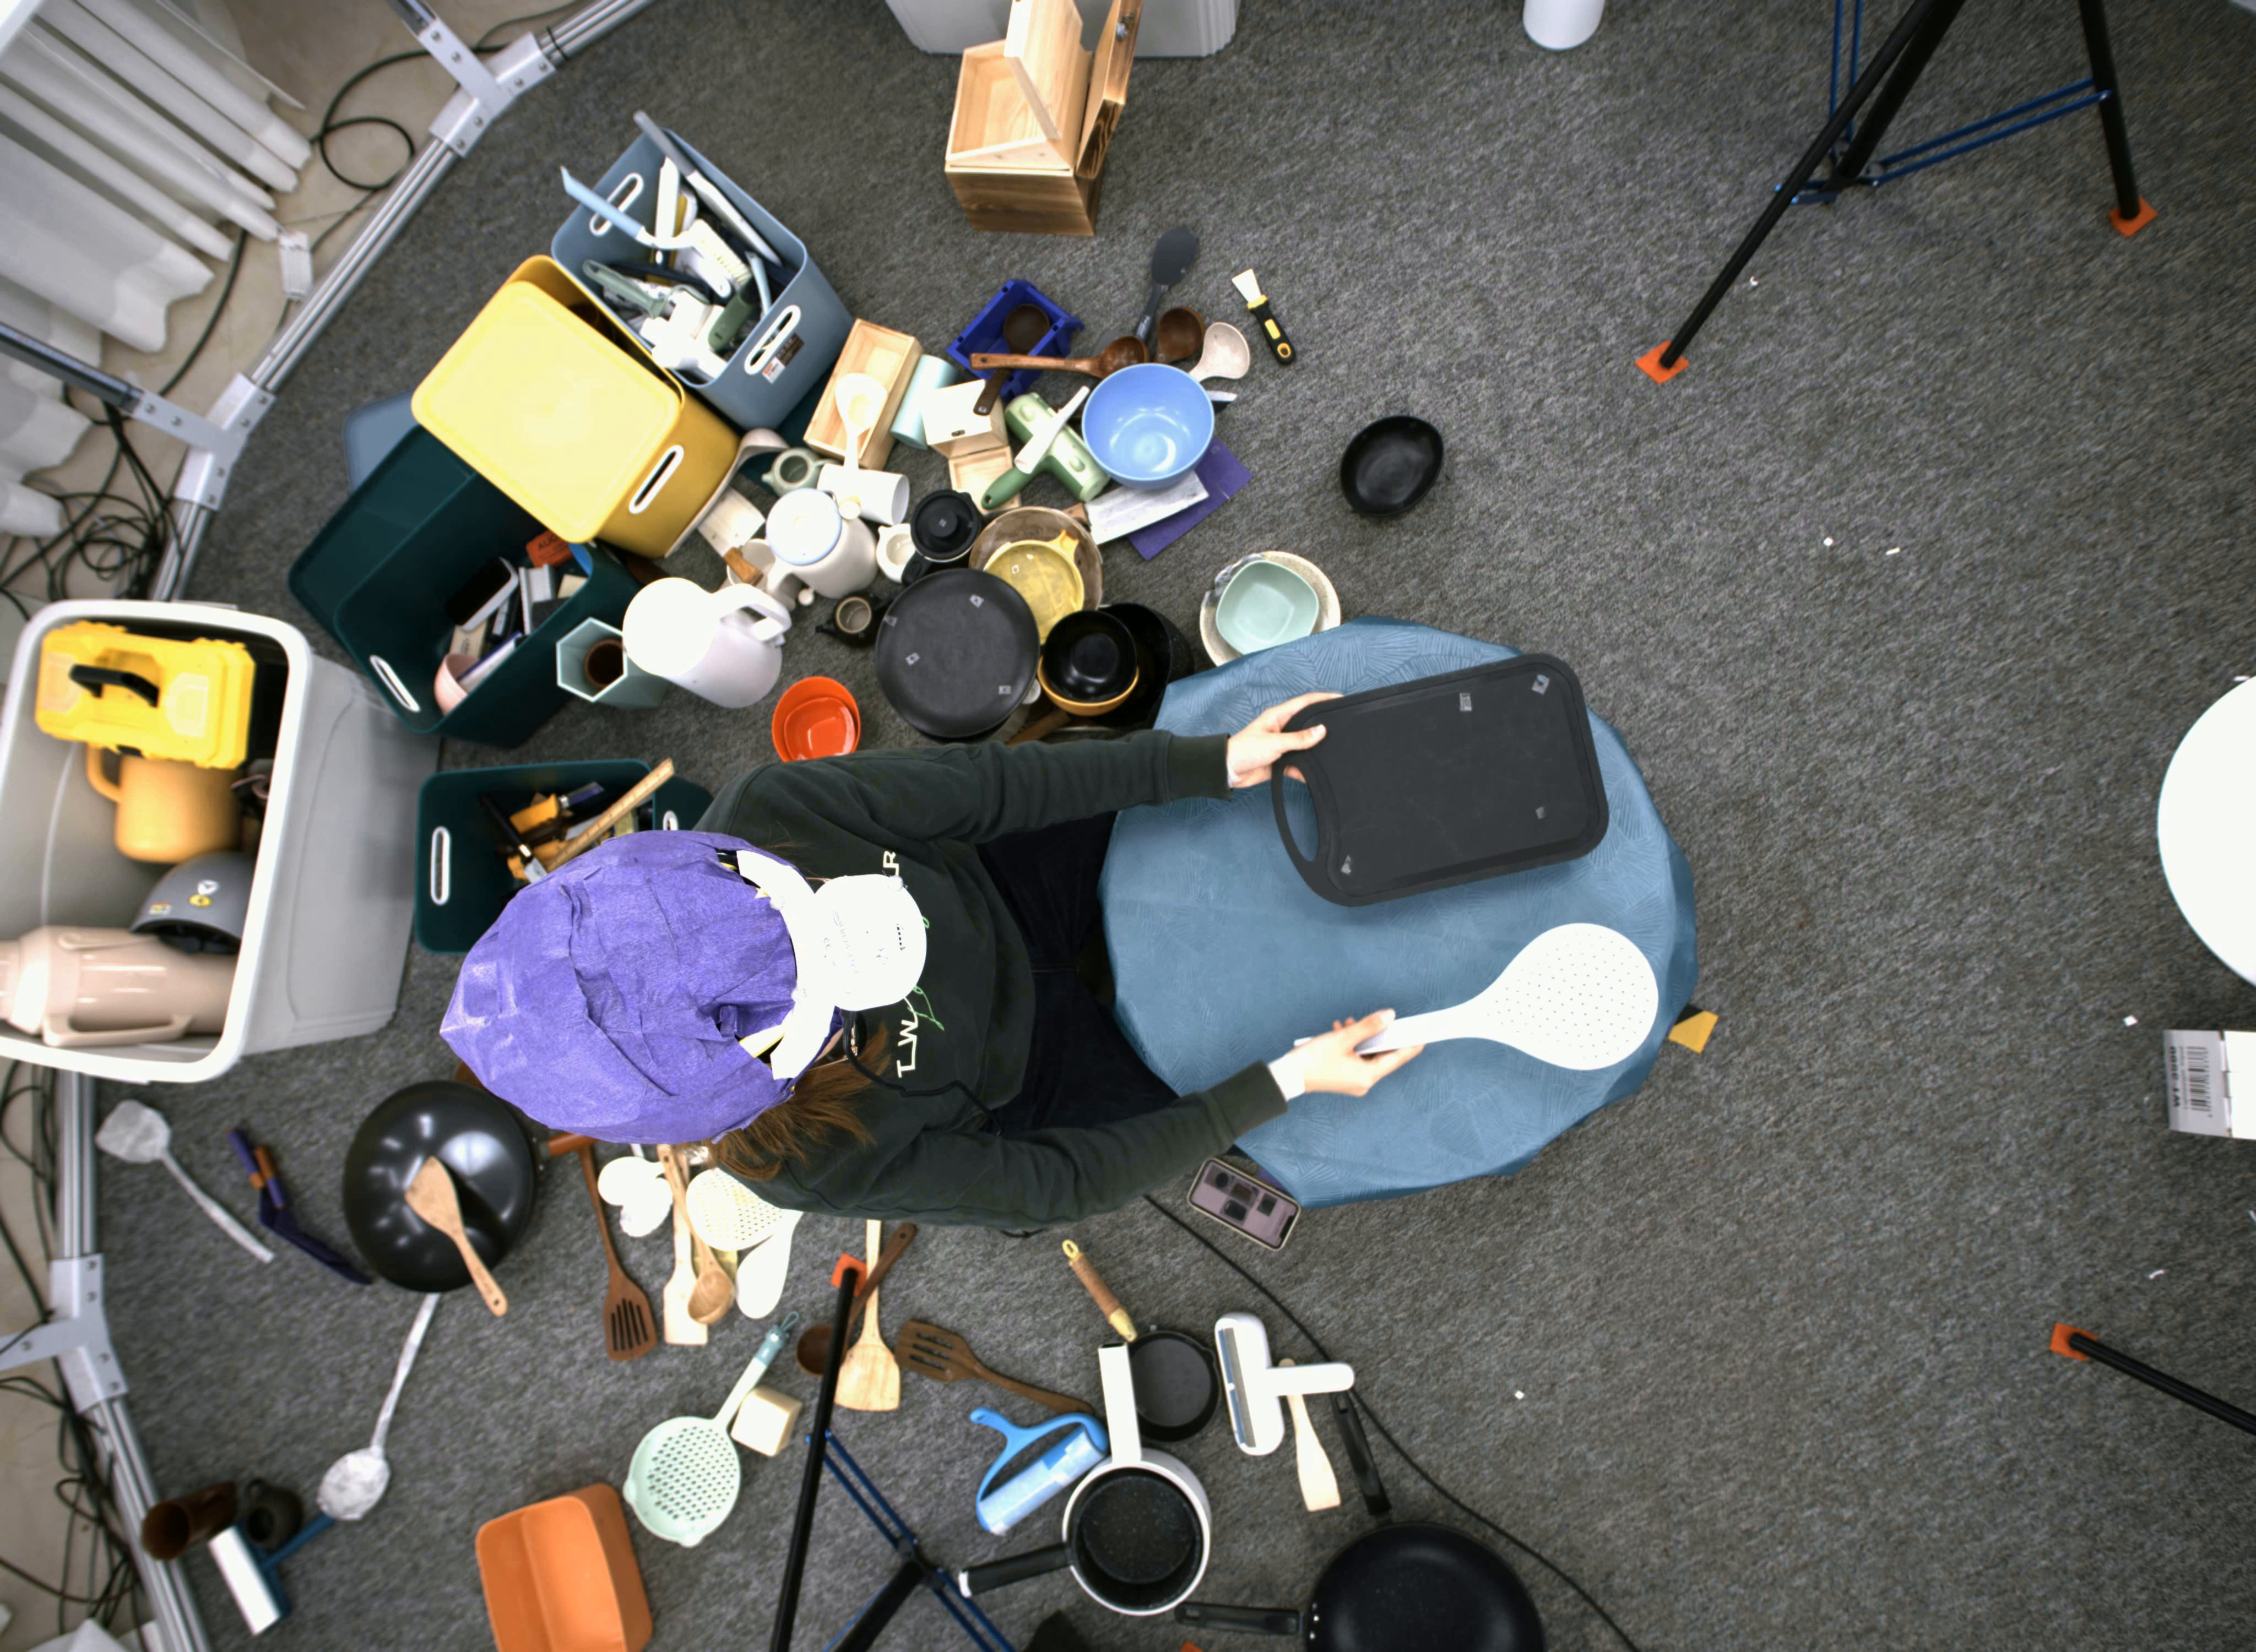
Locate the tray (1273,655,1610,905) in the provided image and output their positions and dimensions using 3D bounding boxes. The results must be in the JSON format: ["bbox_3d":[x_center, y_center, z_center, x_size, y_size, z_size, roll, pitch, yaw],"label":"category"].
[{"bbox_3d":[0.308,-0.045,1.374,0.326,0.010,0.211,-13,90,6],"label":"tray"}]

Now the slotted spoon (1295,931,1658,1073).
[{"bbox_3d":[0.335,0.192,1.348,0.352,0.046,0.135,-14,84,12],"label":"slotted spoon"}]
